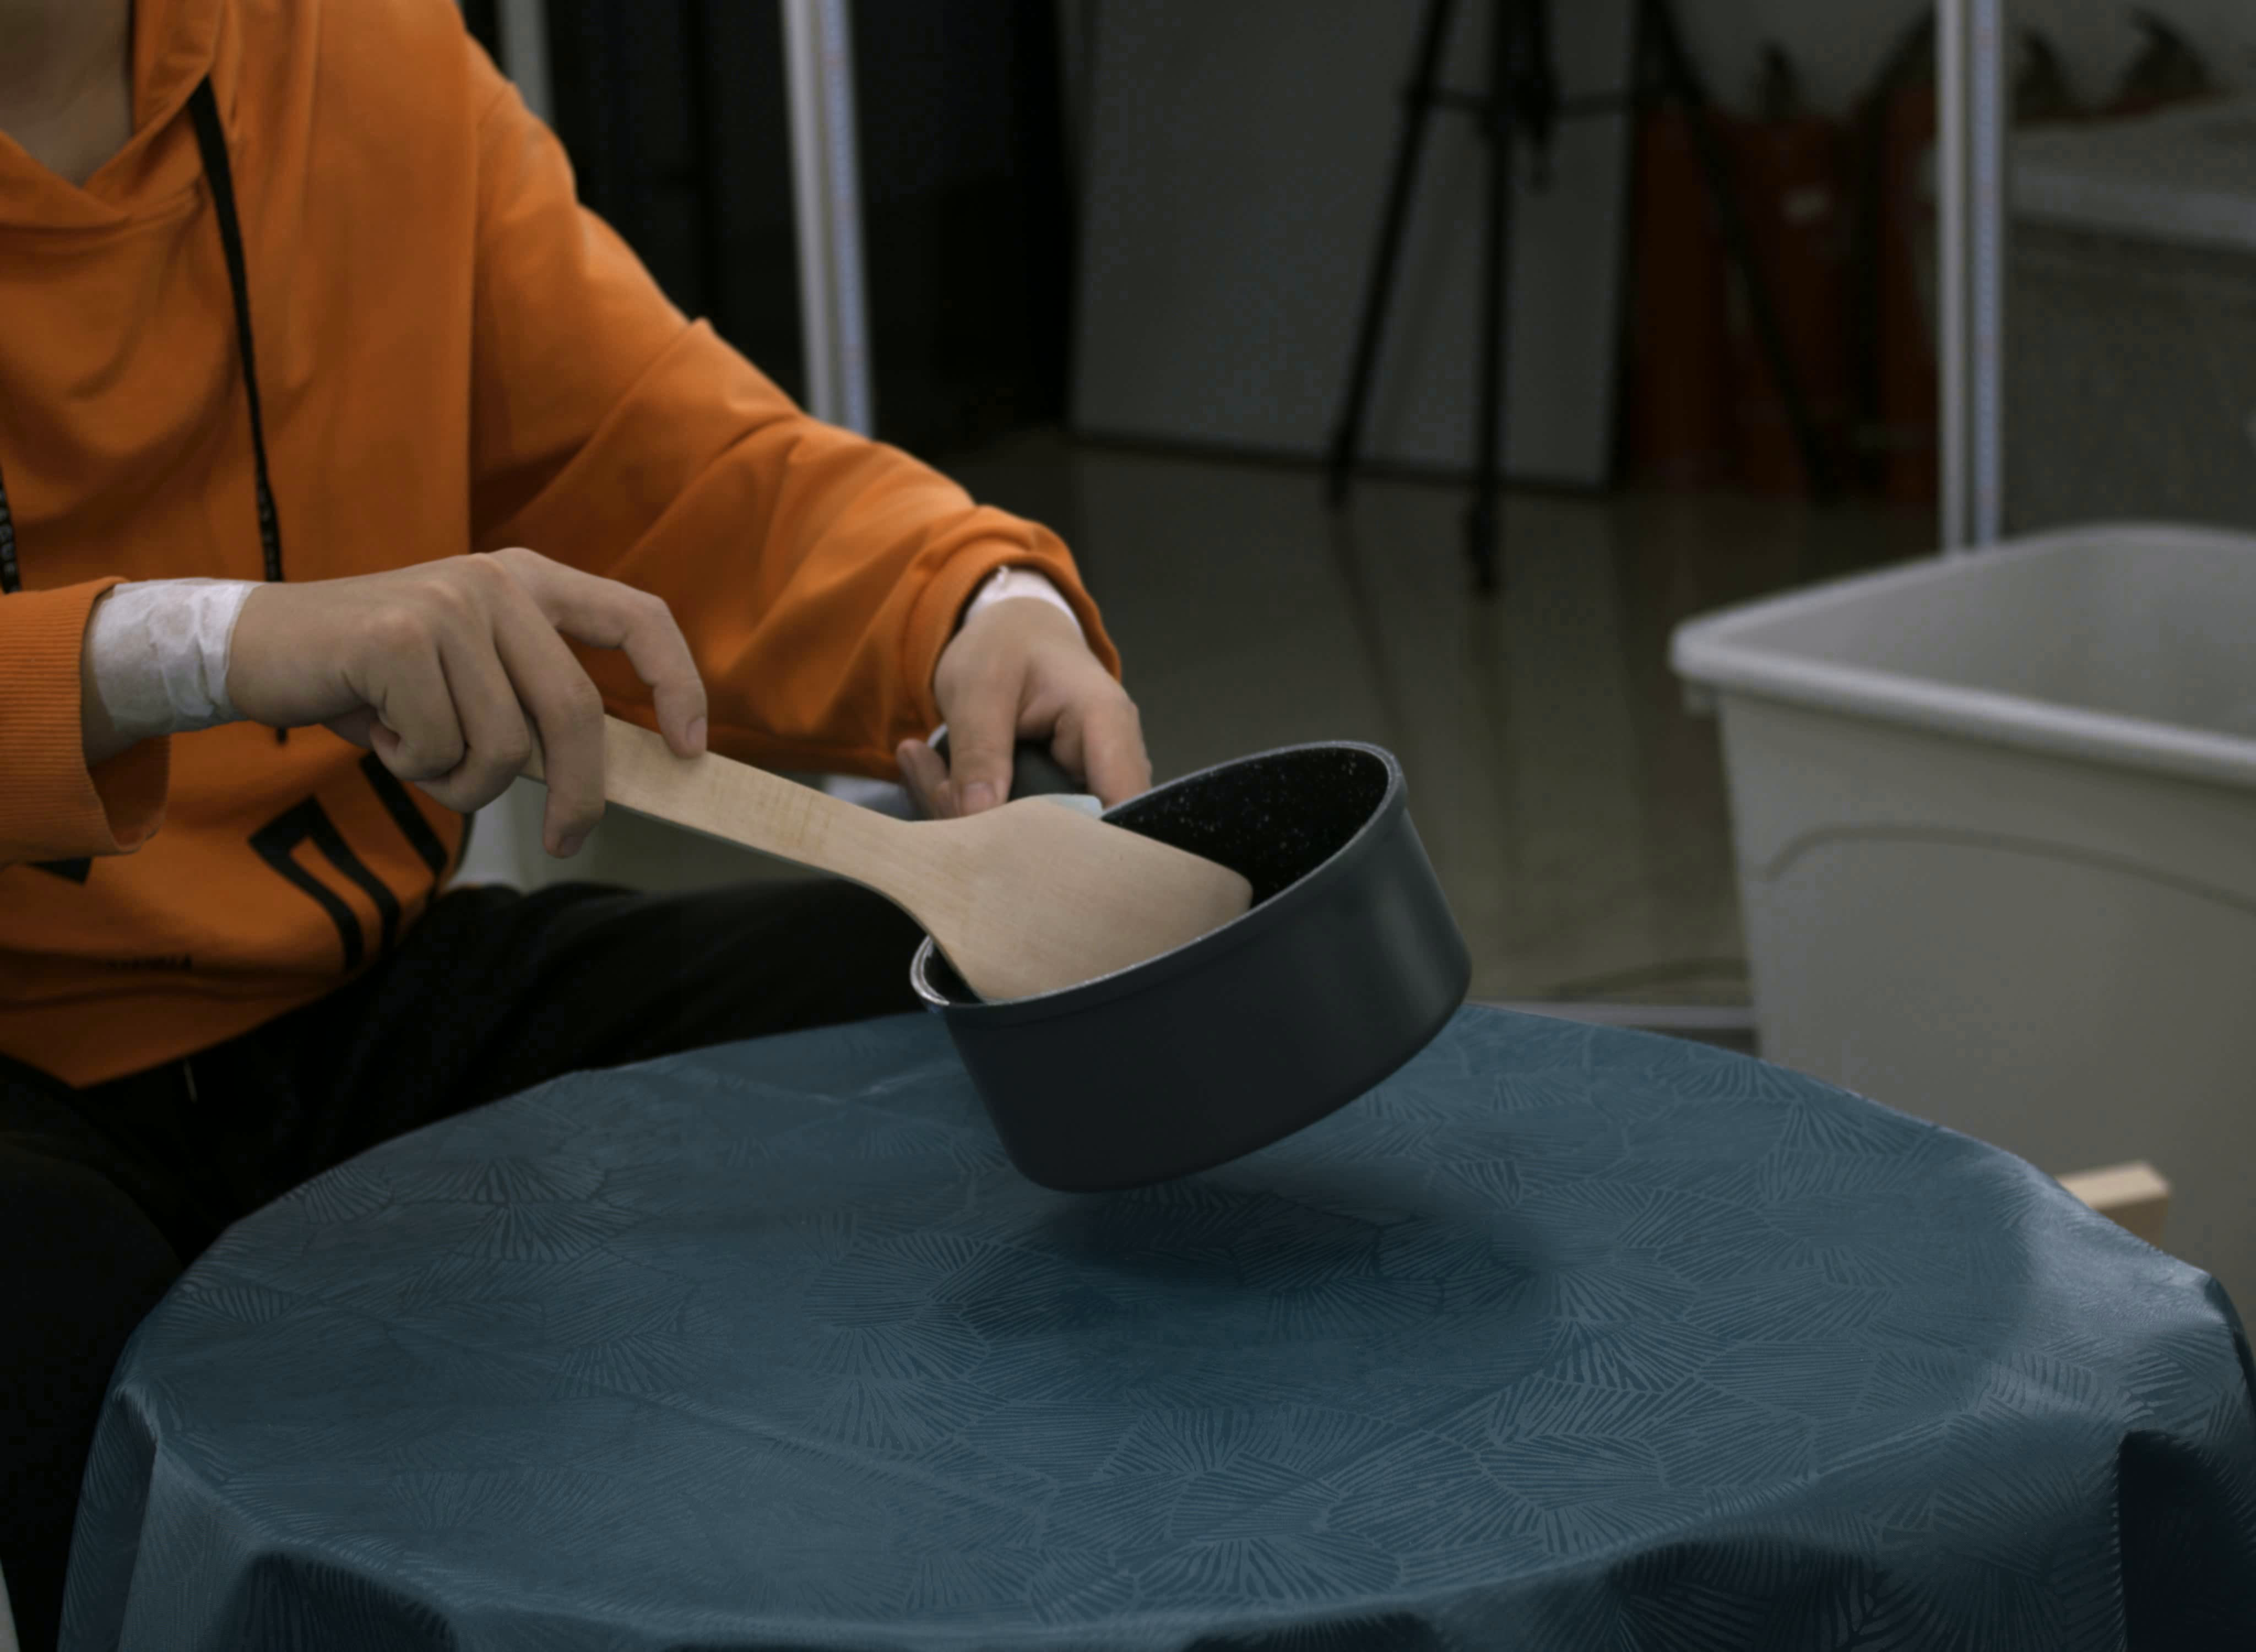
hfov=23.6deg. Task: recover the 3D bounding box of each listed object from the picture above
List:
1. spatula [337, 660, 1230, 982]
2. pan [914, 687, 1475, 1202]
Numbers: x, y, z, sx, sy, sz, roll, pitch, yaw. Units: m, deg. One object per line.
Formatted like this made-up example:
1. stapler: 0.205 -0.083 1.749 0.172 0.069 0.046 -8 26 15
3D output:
1. spatula: -0.110 -0.007 1.732 0.289 0.073 0.011 14 -13 -4
2. pan: 0.004 0.028 1.790 0.170 0.087 0.331 -27 17 -7
